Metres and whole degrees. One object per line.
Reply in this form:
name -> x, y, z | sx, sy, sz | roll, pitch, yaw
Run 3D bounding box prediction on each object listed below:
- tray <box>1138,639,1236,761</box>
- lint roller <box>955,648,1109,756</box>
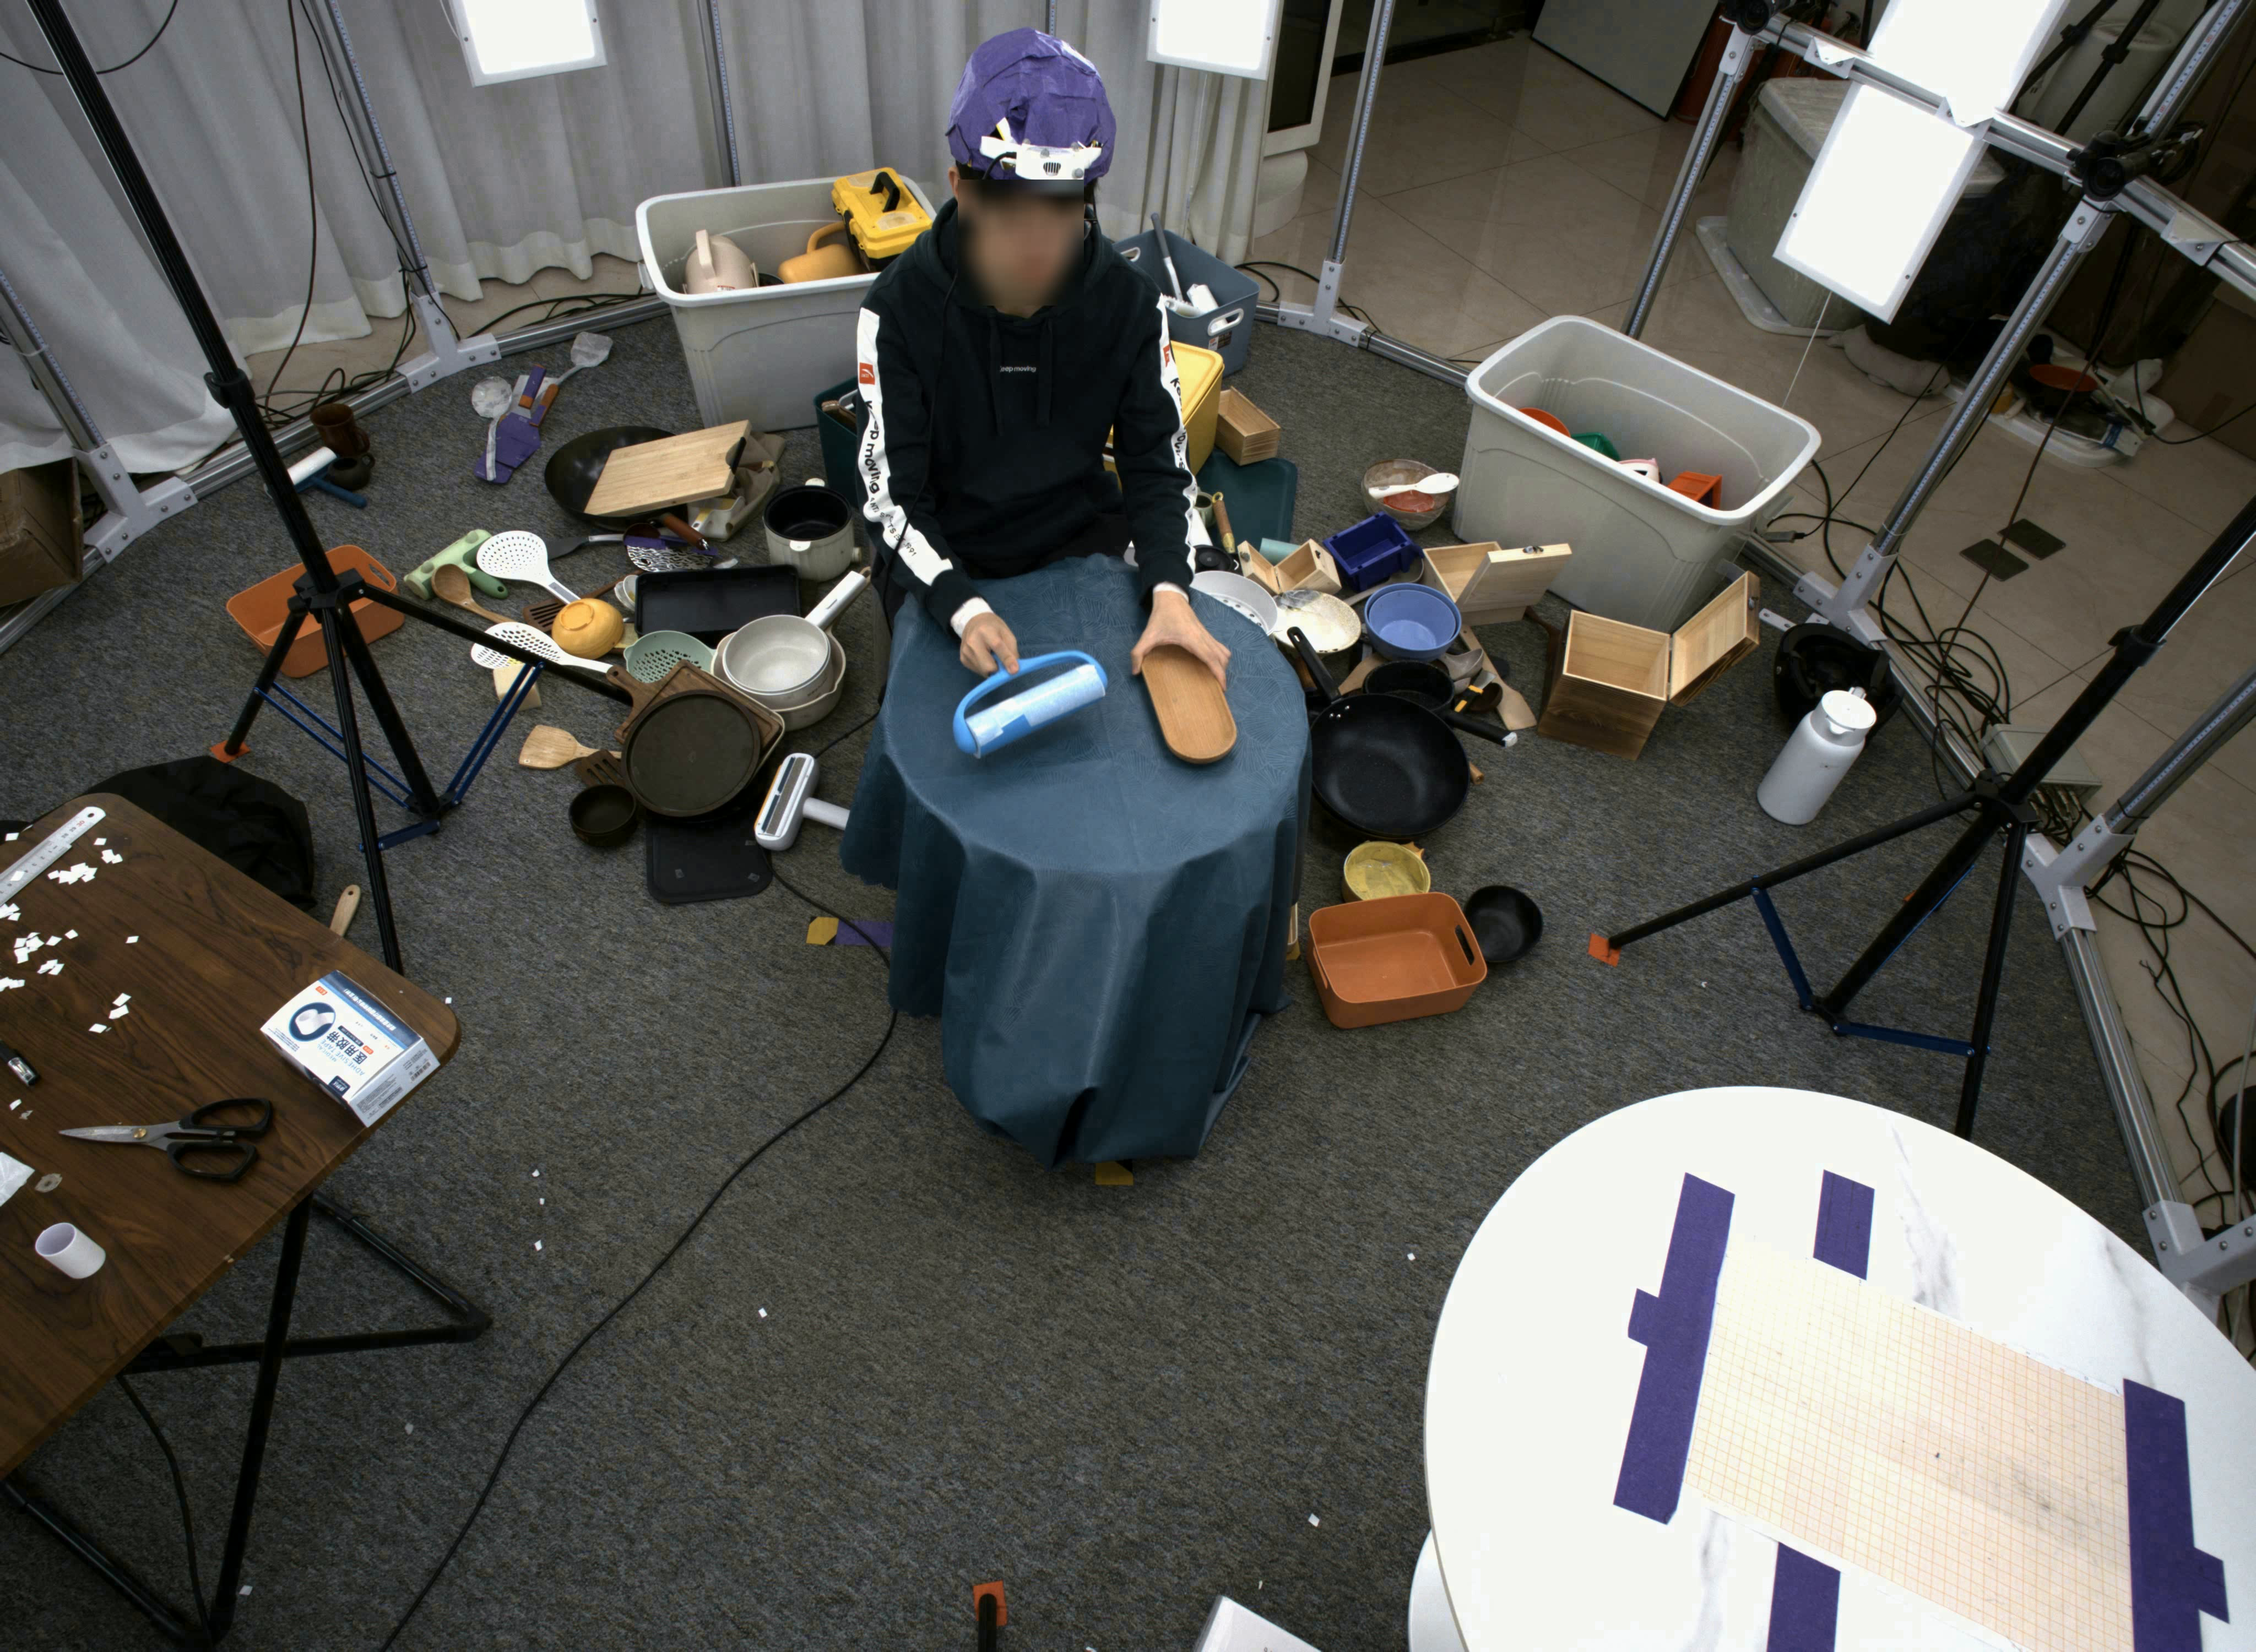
tray -> 0.082, -0.180, 1.801 | 0.101, 0.020, 0.237 | -10, 50, -10
lint roller -> -0.159, -0.198, 1.745 | 0.230, 0.066, 0.183 | -30, 58, -19
